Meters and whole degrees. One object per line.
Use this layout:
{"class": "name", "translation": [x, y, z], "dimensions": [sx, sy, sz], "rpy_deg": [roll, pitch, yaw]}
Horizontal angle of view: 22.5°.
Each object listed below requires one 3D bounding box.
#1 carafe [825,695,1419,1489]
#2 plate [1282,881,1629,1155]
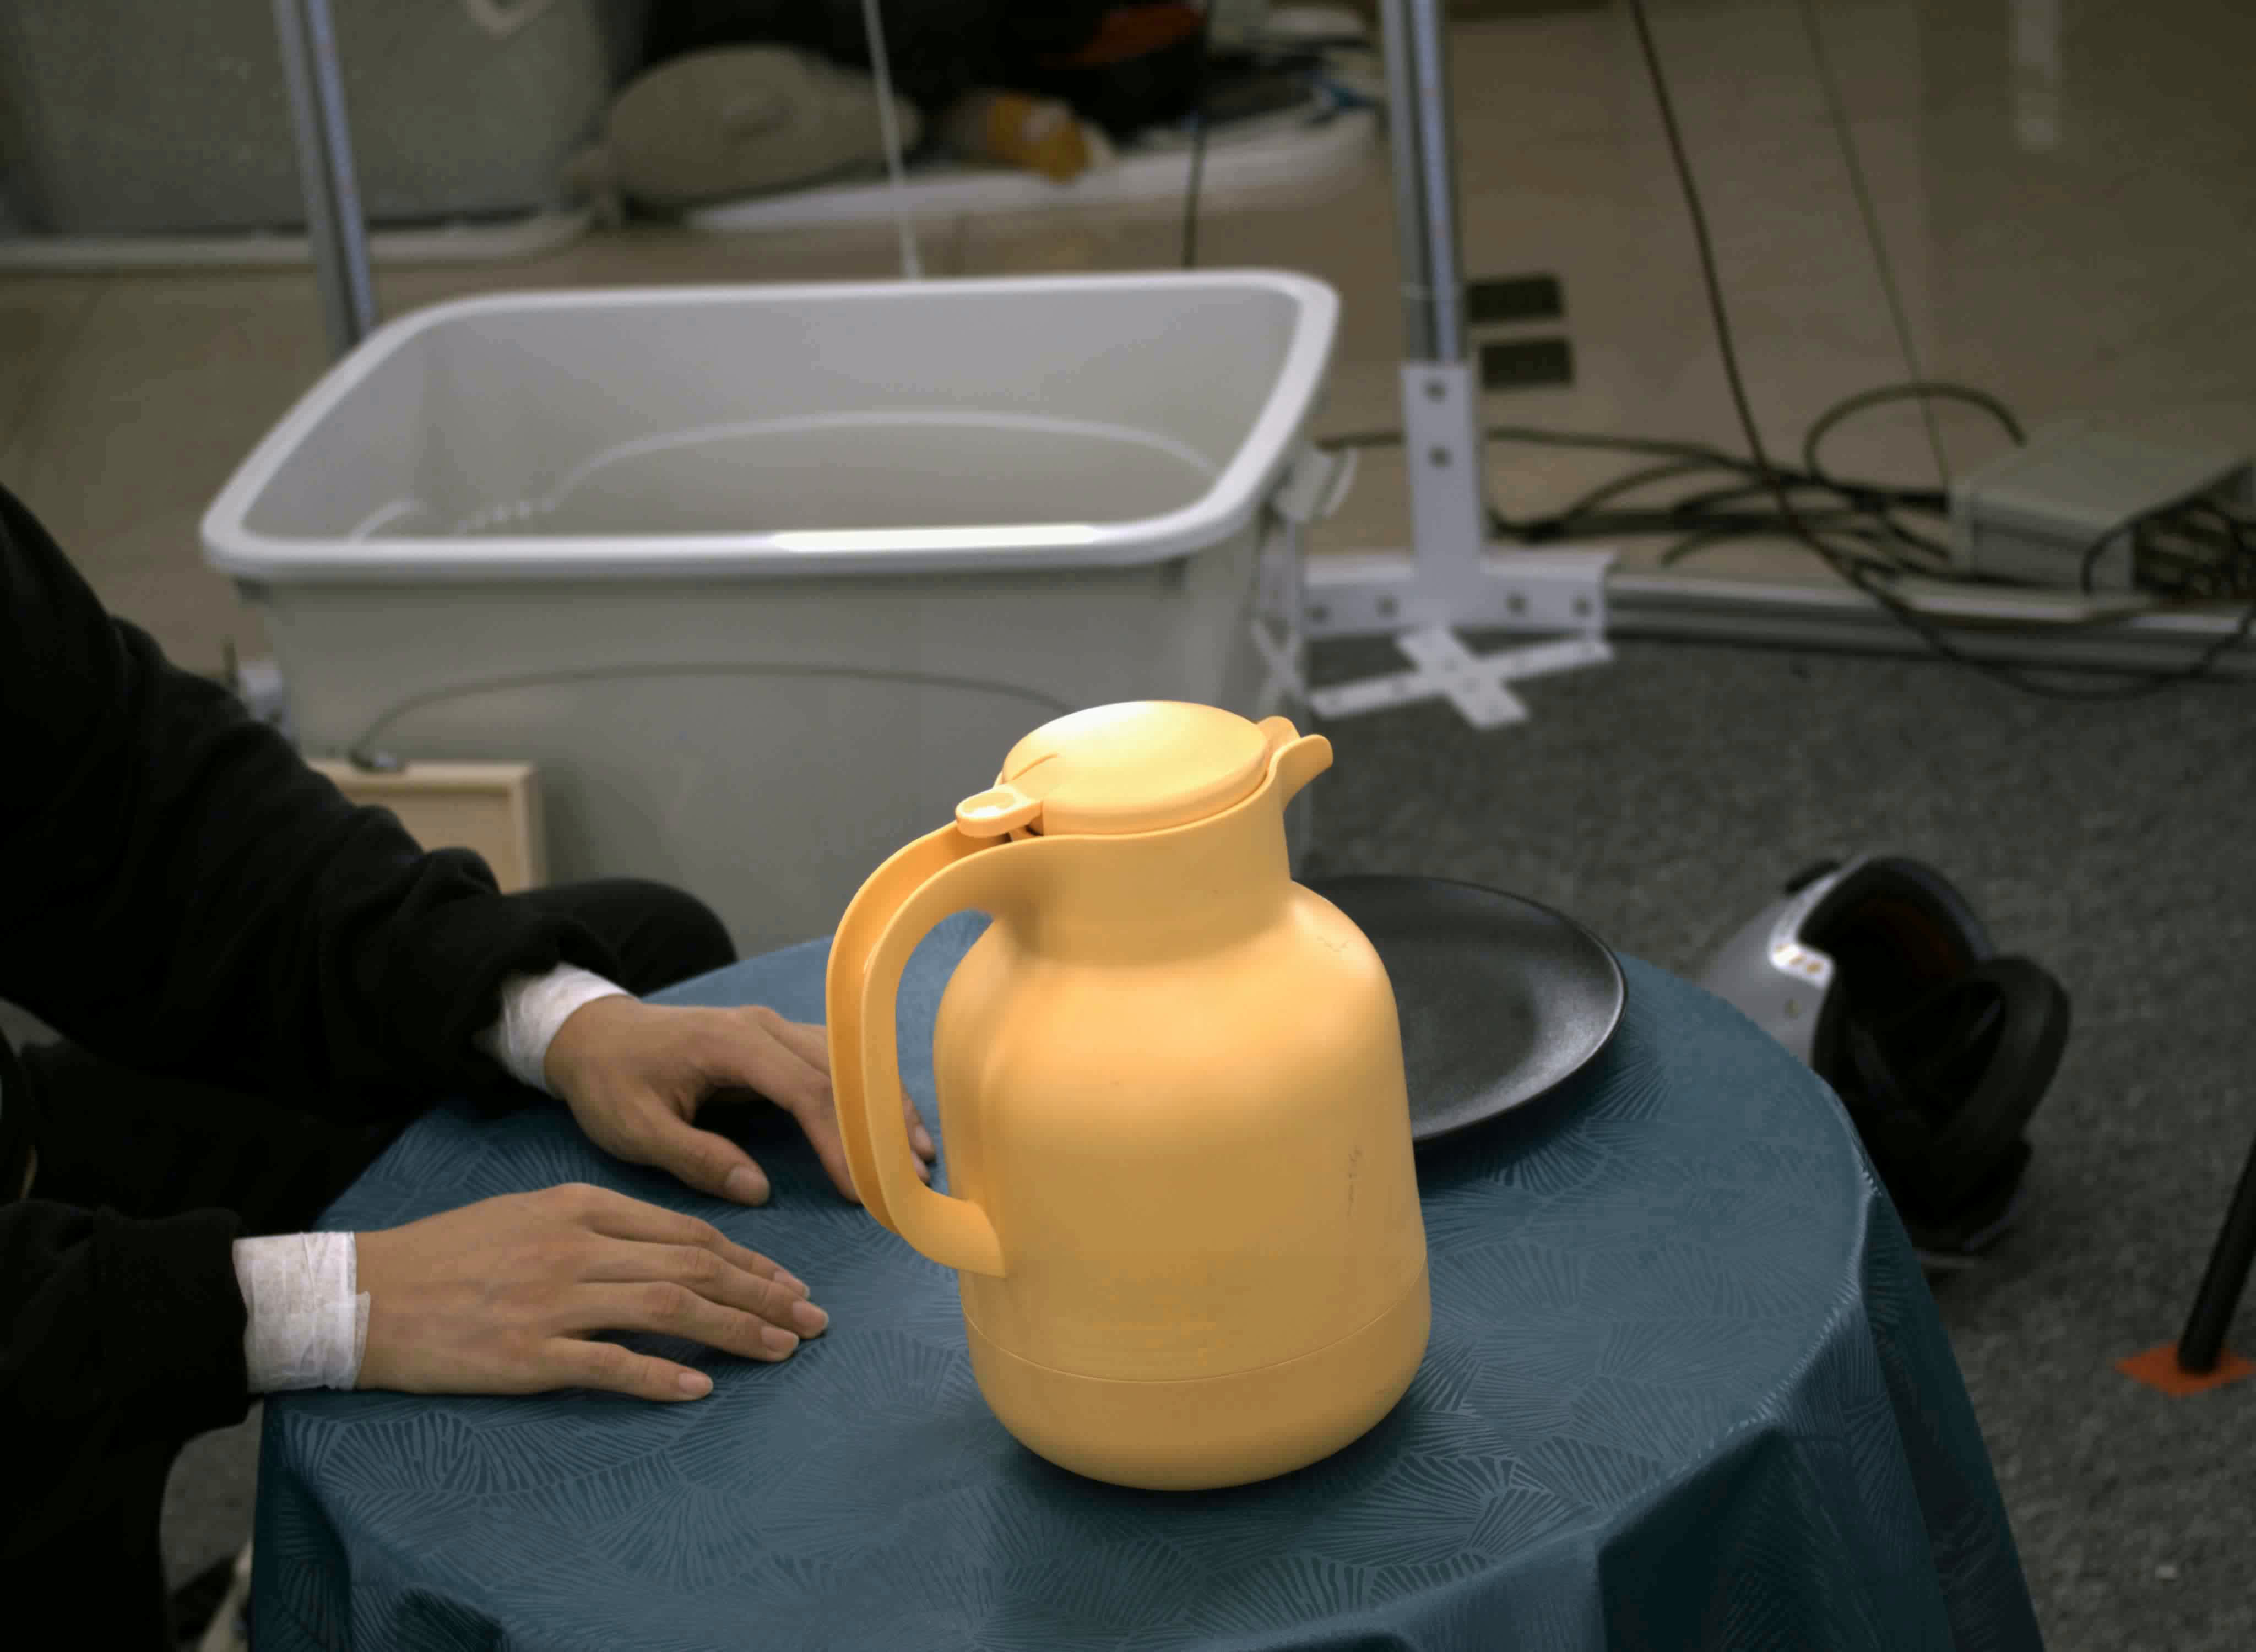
{"class": "carafe", "translation": [-0.005, 0.091, 1.936], "dimensions": [0.201, 0.264, 0.162], "rpy_deg": [-16, 25, -24]}
{"class": "plate", "translation": [0.076, 0.082, 2.225], "dimensions": [0.244, 0.024, 0.241], "rpy_deg": [-5, 25, 2]}
